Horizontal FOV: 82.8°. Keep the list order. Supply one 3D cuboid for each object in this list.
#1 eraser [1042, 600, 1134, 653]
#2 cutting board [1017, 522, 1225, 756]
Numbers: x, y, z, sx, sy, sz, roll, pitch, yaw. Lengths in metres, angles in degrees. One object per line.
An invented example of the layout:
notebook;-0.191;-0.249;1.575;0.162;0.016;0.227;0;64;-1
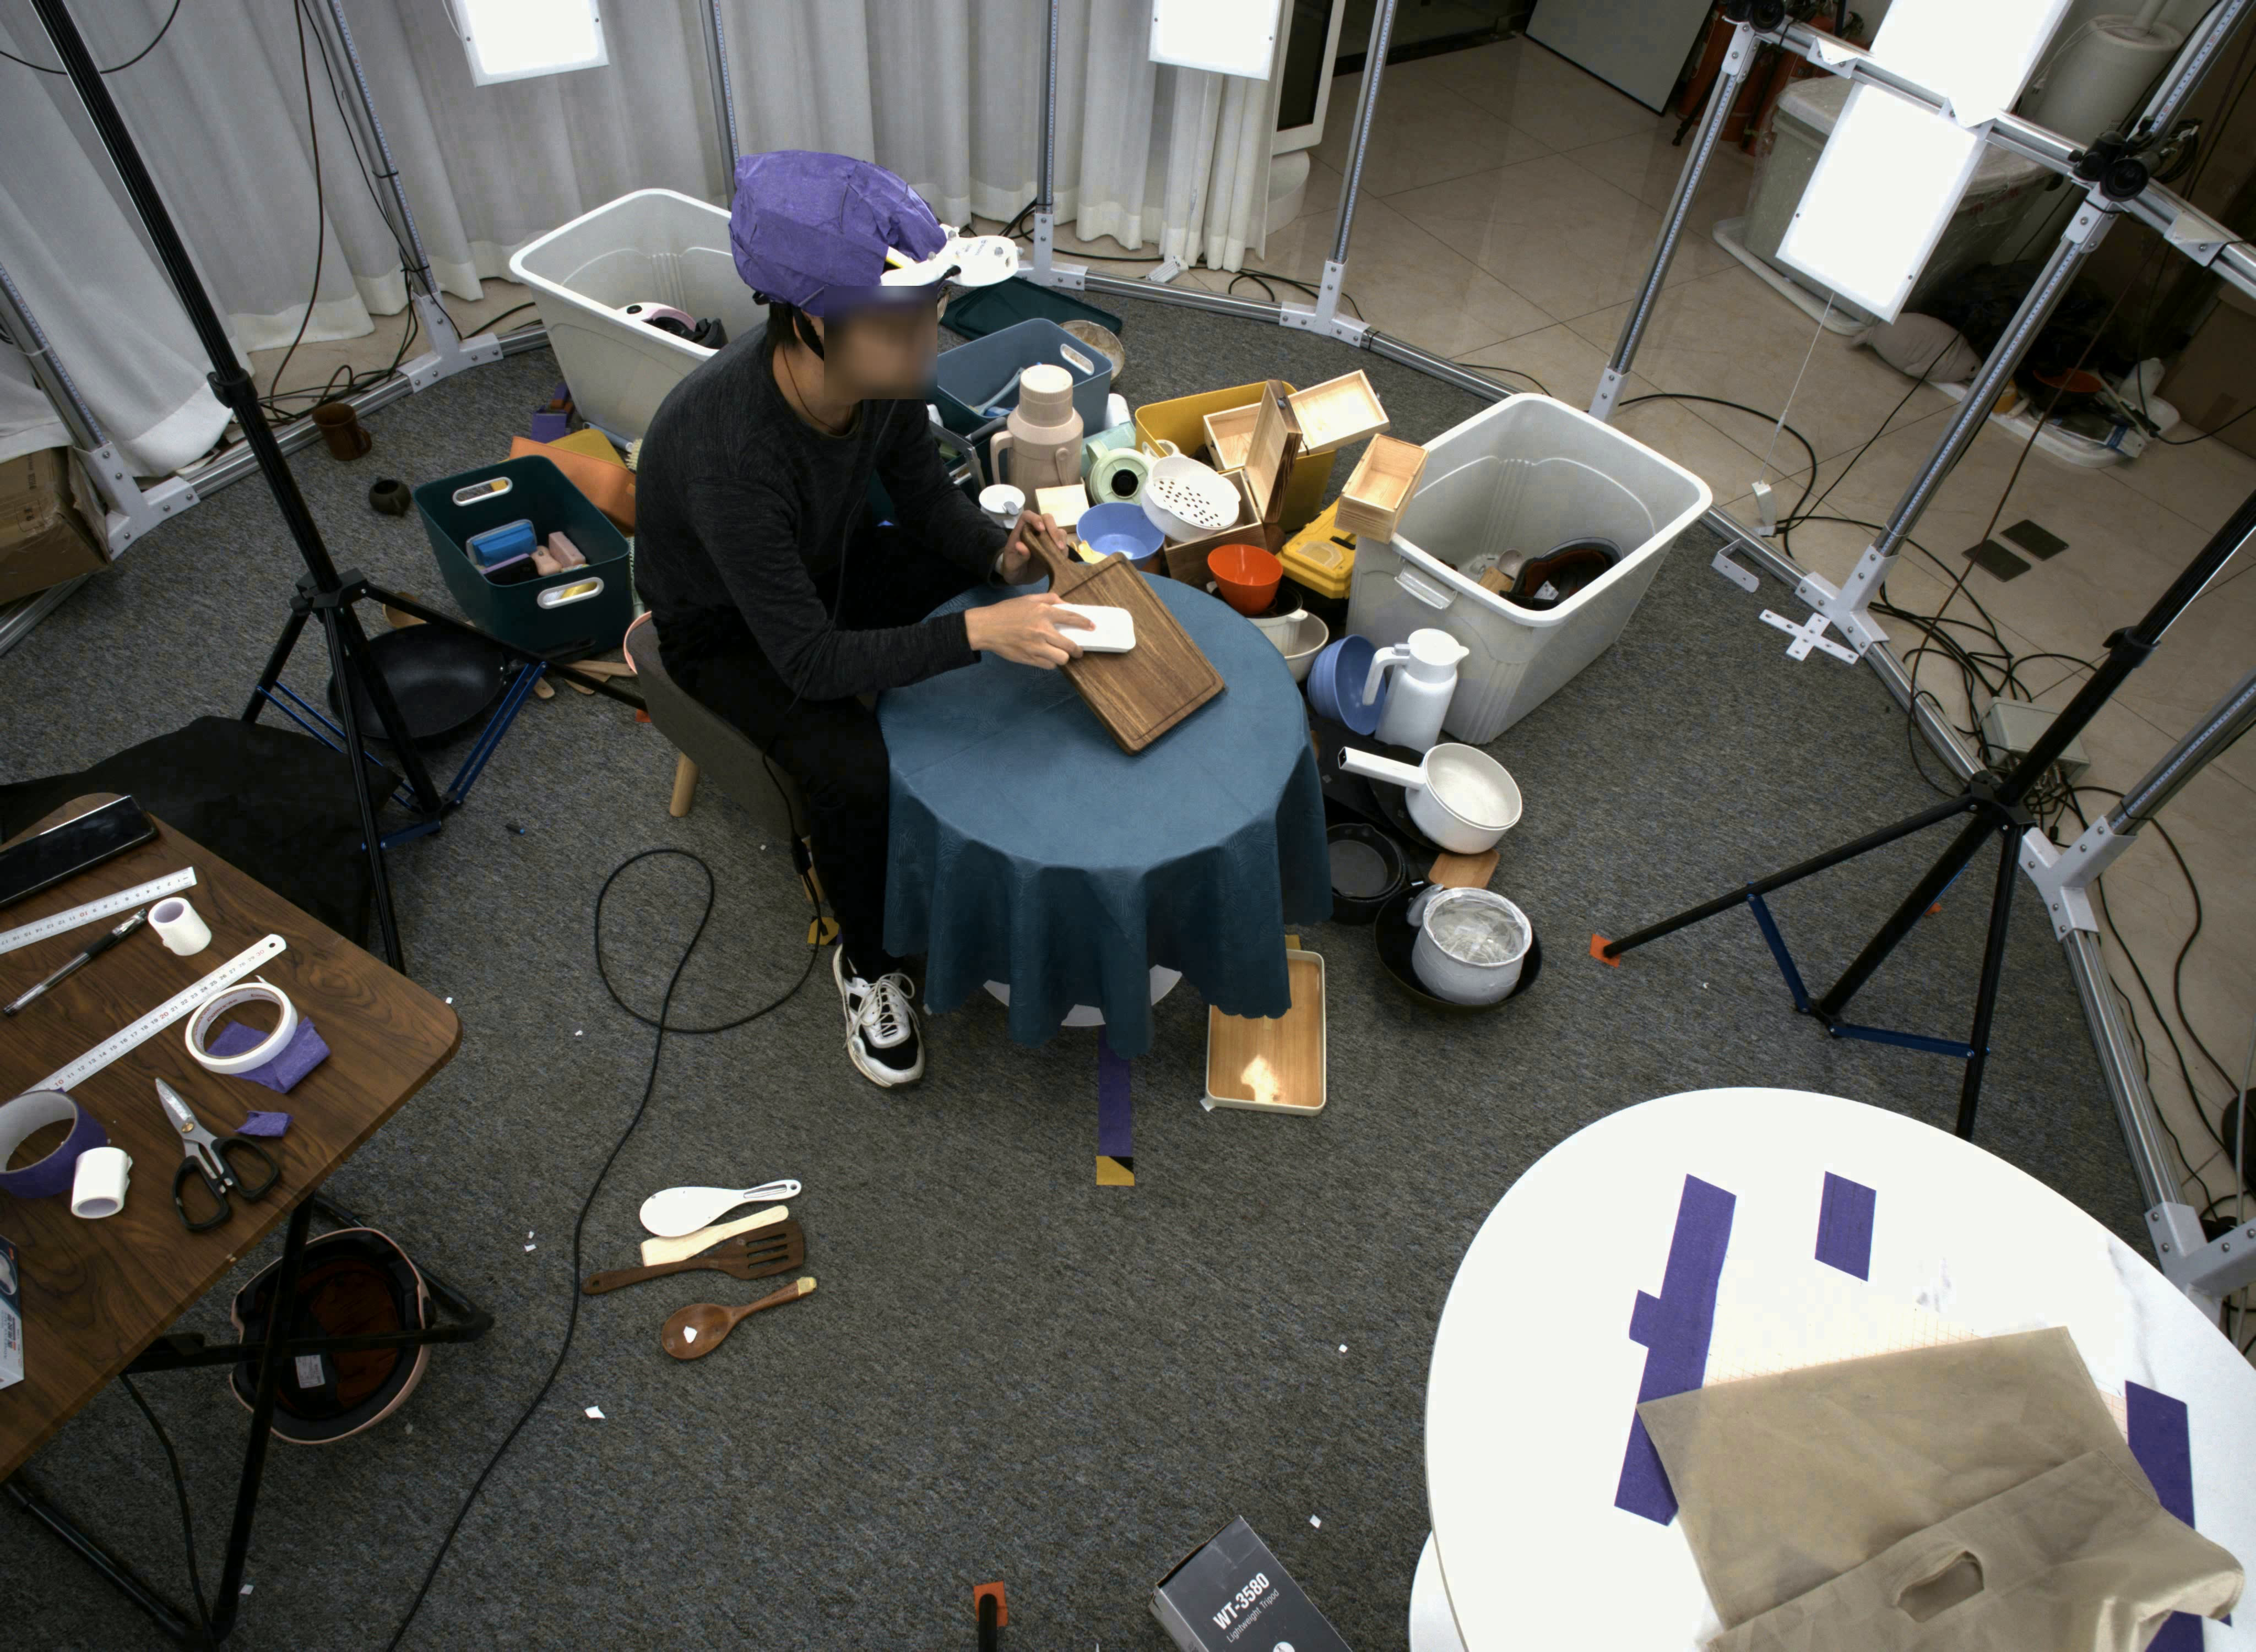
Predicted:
eraser;-0.054;-0.273;1.763;0.131;0.034;0.064;0;71;-27
cutting board;-0.035;-0.284;1.802;0.203;0.023;0.353;-37;87;-30
